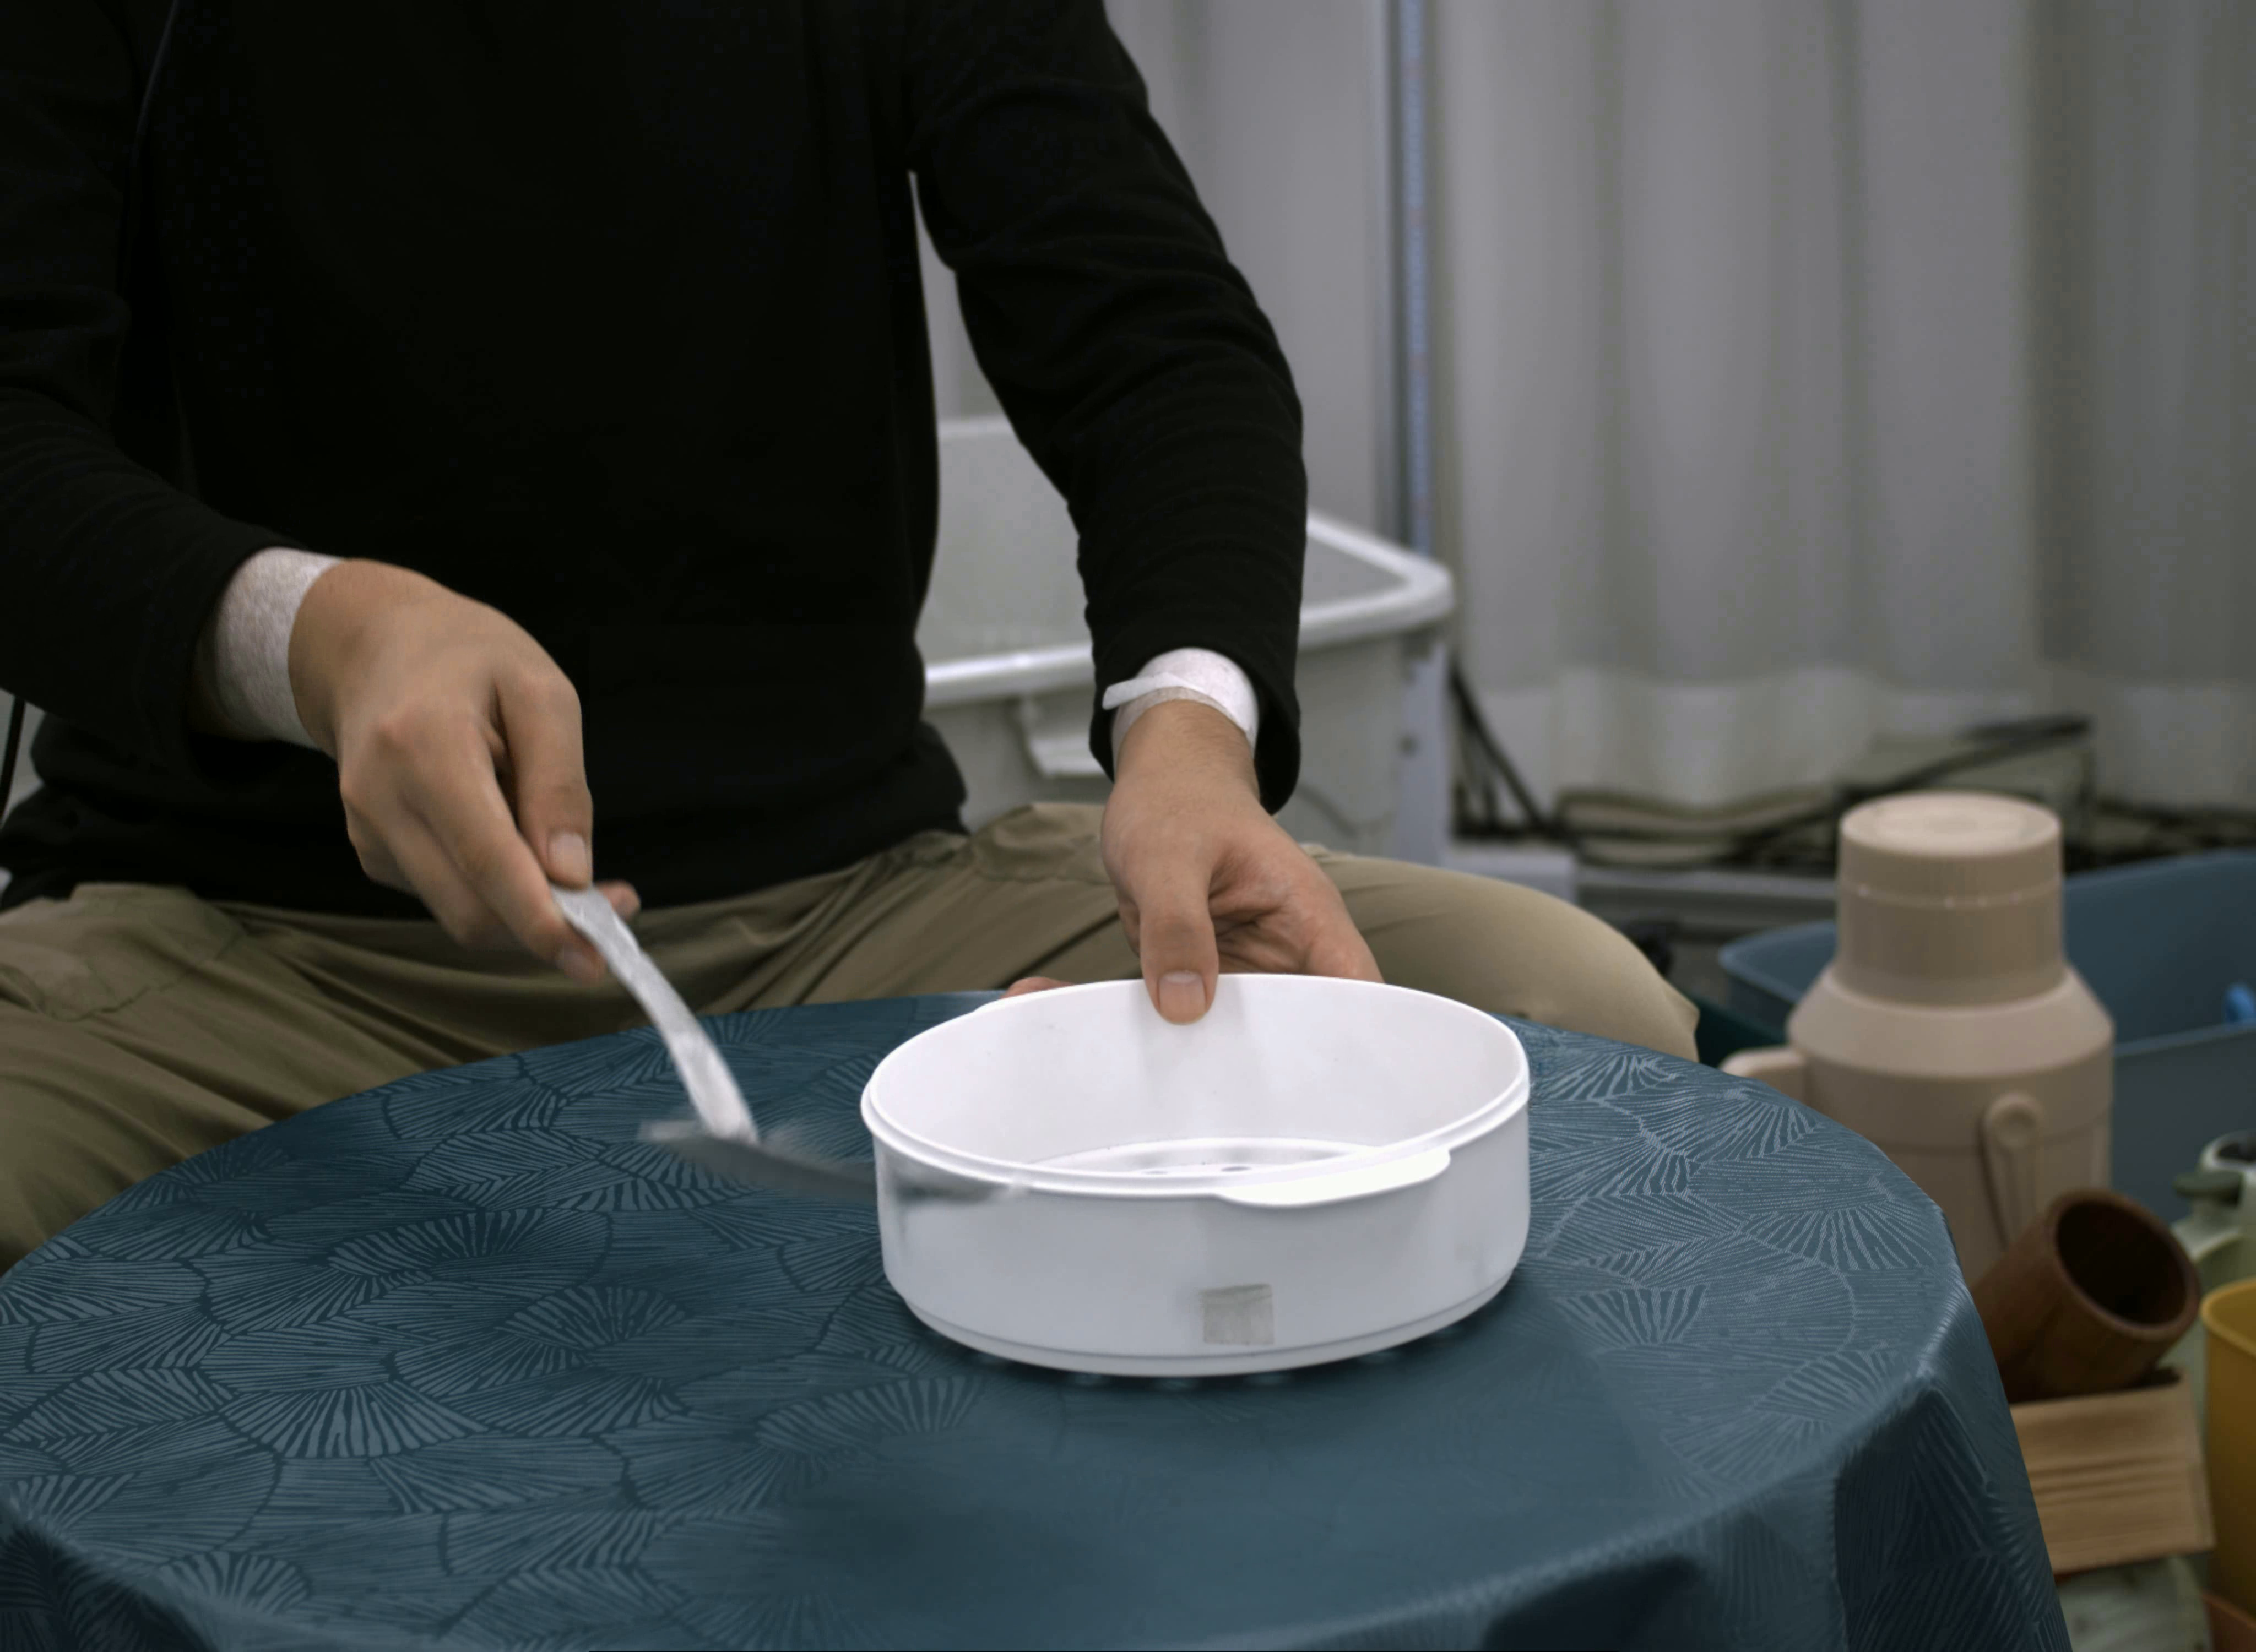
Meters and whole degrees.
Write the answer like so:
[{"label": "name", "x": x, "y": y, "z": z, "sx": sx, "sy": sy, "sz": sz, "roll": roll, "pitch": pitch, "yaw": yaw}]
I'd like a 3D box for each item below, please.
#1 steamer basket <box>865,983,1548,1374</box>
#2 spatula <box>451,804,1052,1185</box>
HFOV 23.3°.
[{"label": "steamer basket", "x": 0.024, "y": 0.104, "z": 1.616, "sx": 0.201, "sy": 0.069, "sz": 0.232, "roll": -7, "pitch": 14, "yaw": -21}, {"label": "spatula", "x": -0.132, "y": 0.038, "z": 1.562, "sx": 0.098, "sy": 0.044, "sz": 0.369, "roll": 12, "pitch": 14, "yaw": -28}]
